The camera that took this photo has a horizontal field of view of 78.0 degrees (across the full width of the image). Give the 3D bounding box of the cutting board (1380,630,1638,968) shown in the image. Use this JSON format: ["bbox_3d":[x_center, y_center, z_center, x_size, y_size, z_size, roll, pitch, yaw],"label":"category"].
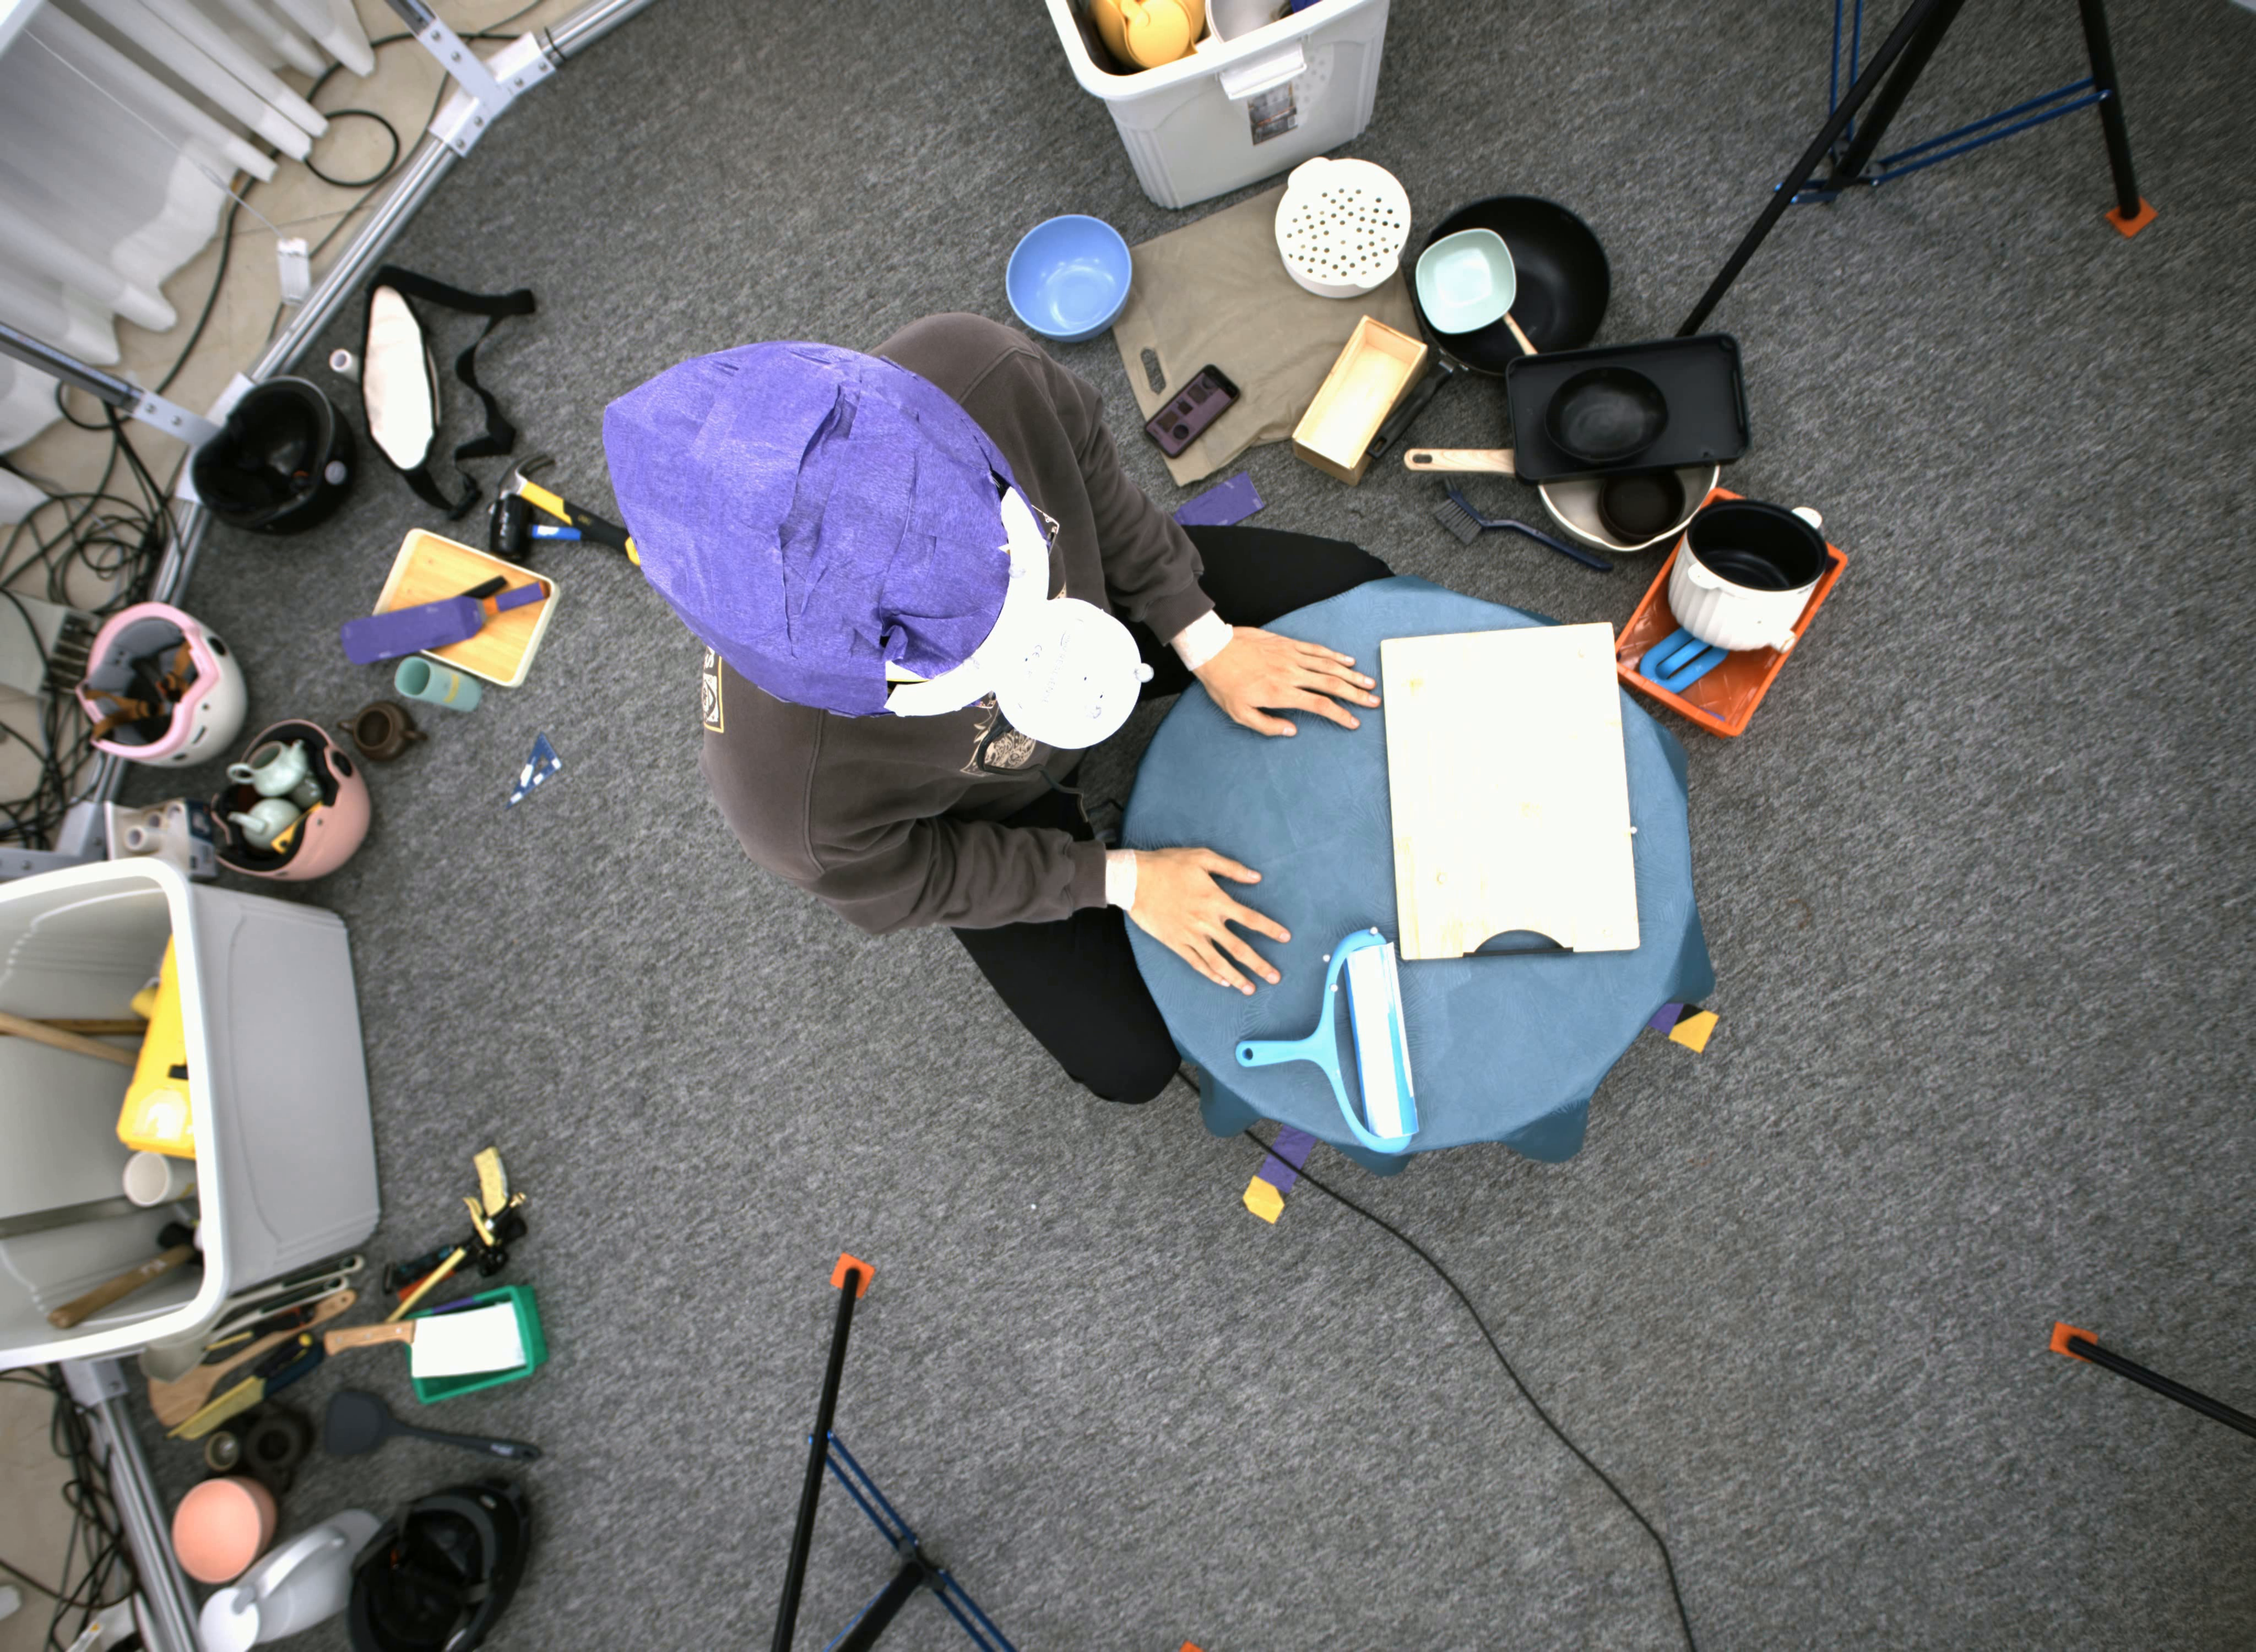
[{"bbox_3d":[0.394,-0.033,1.431,0.252,0.023,0.347,-4,86,11],"label":"cutting board"}]

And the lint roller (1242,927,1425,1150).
[{"bbox_3d":[0.205,0.228,1.433,0.181,0.068,0.228,-12,86,9],"label":"lint roller"}]
